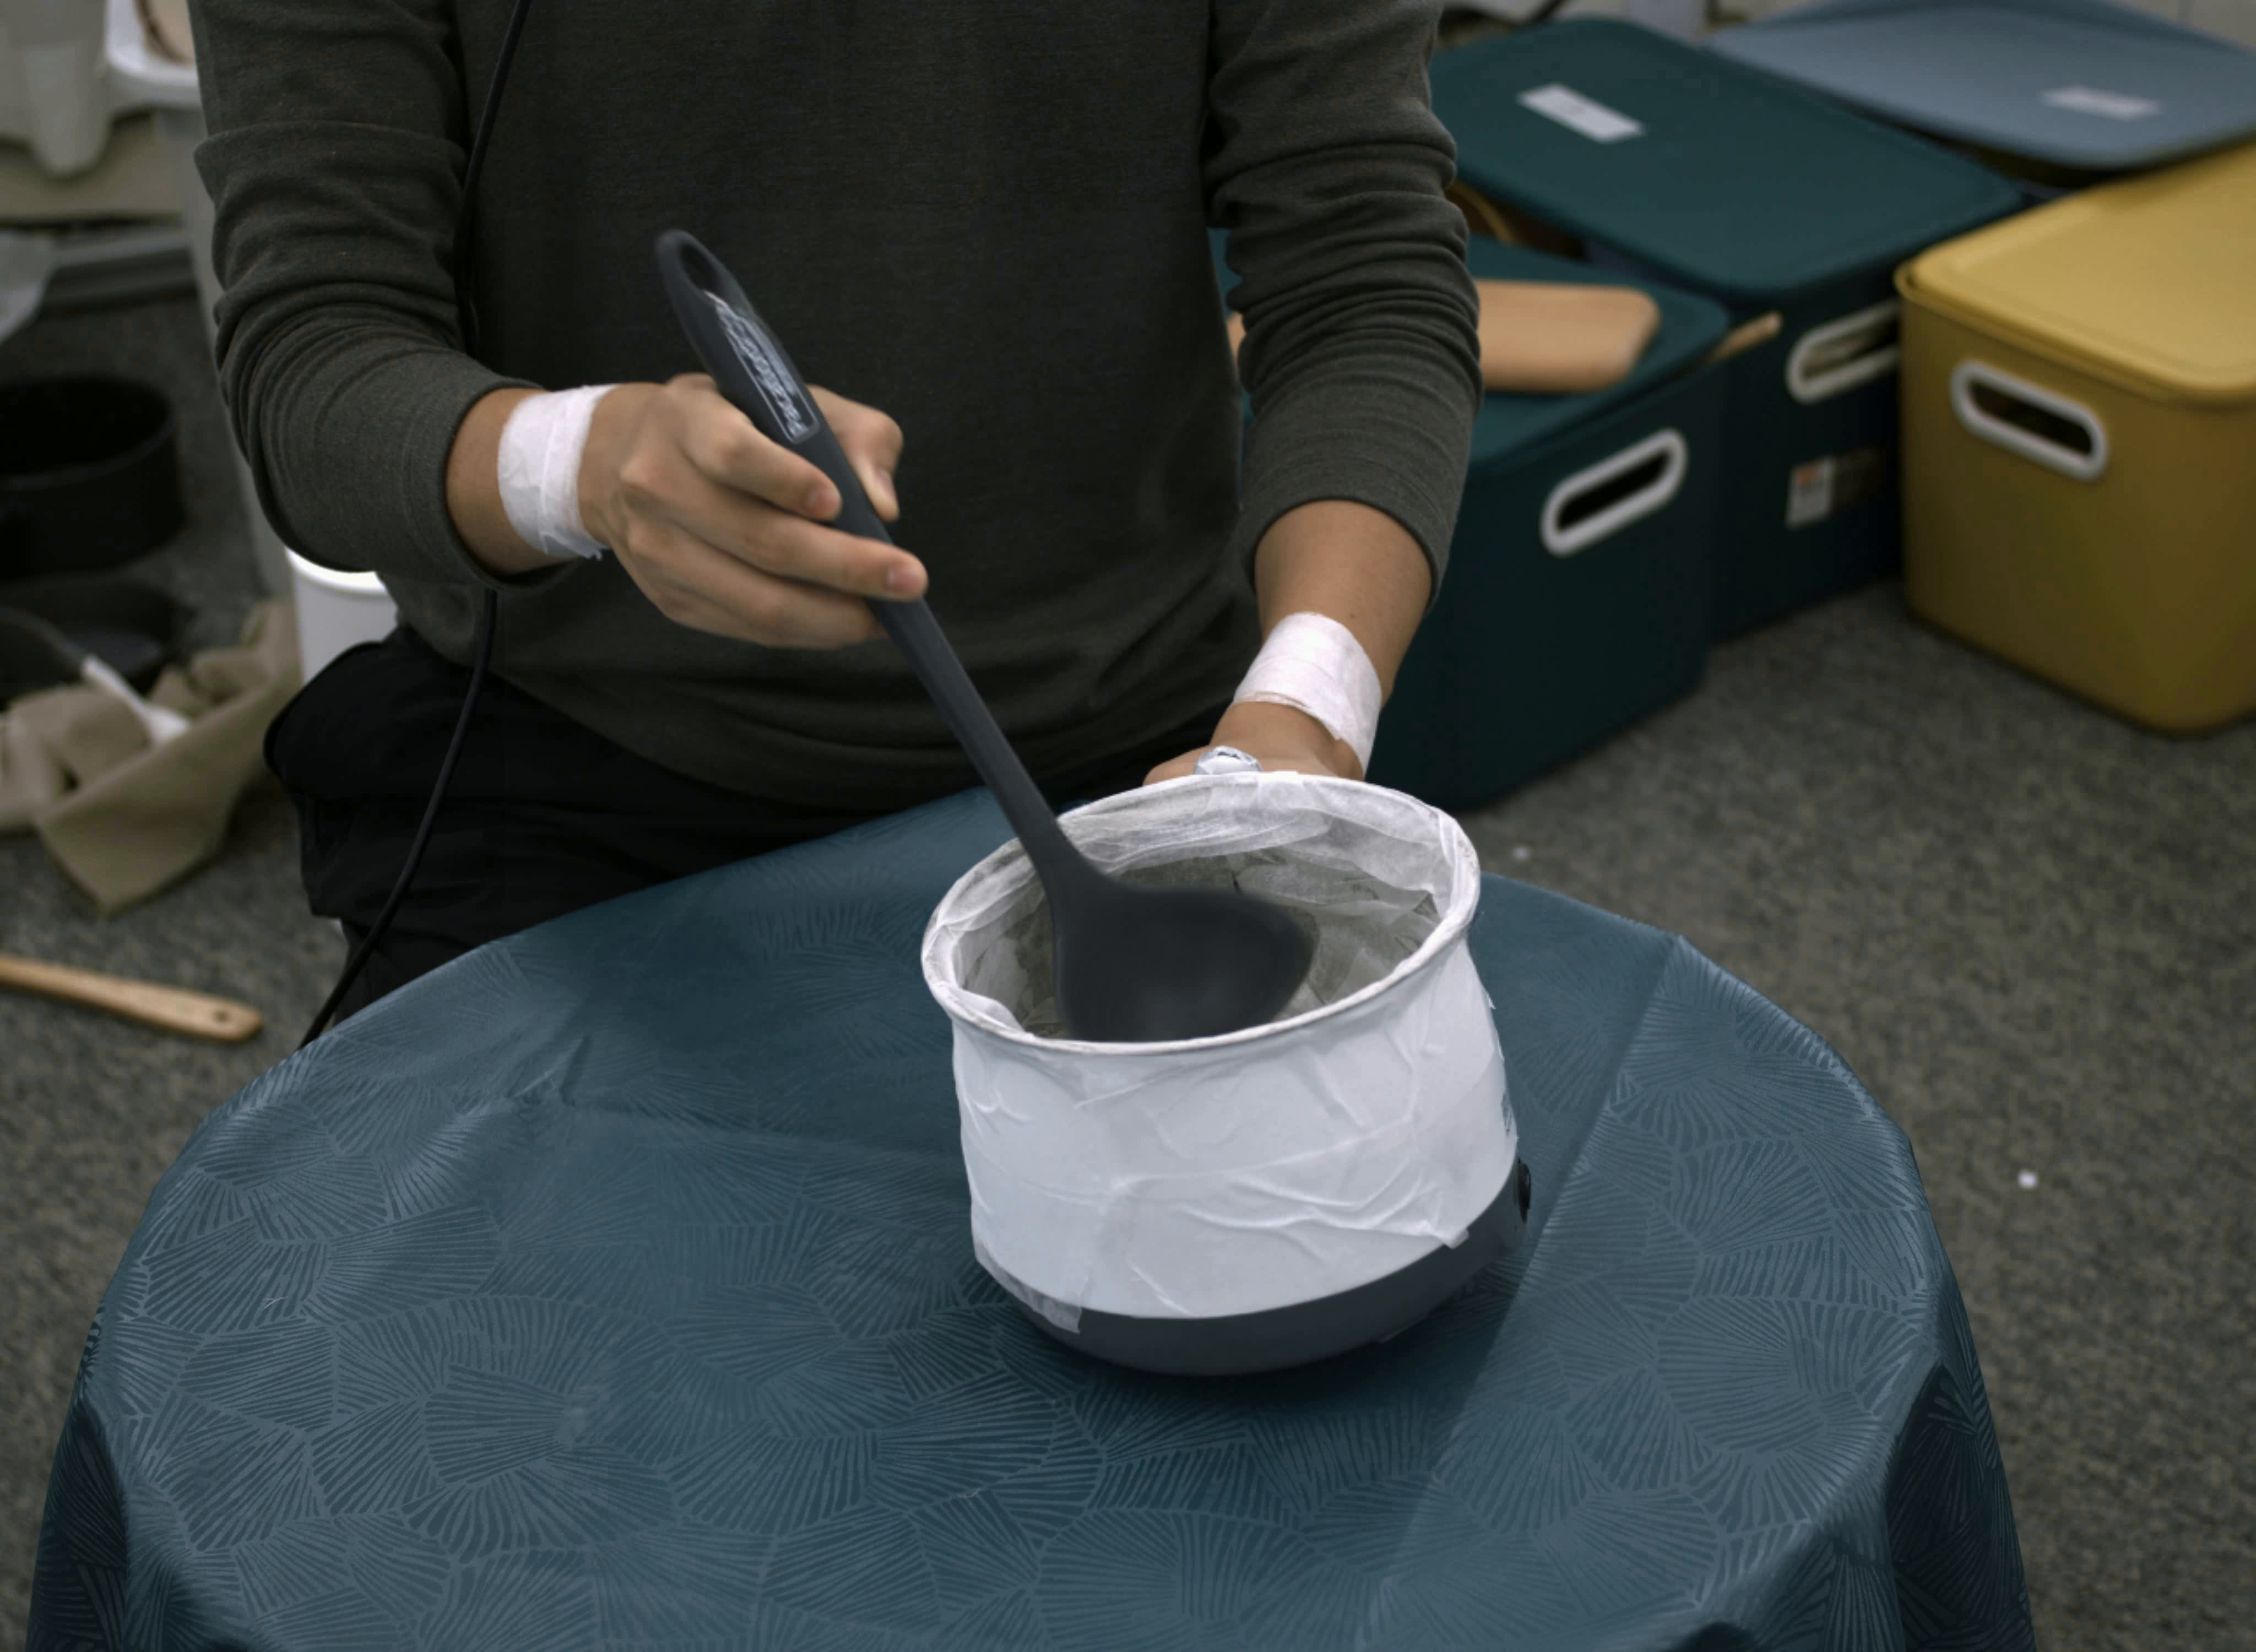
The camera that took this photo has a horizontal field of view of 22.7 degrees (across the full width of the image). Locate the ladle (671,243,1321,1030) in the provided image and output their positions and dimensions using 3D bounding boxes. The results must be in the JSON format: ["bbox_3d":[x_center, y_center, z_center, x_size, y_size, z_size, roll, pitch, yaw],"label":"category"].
[{"bbox_3d":[-0.049,-0.051,1.770,0.087,0.313,0.063,-36,10,-30],"label":"ladle"}]

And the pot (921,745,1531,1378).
[{"bbox_3d":[0.034,0.068,1.805,0.177,0.135,0.237,-6,26,7],"label":"pot"}]
